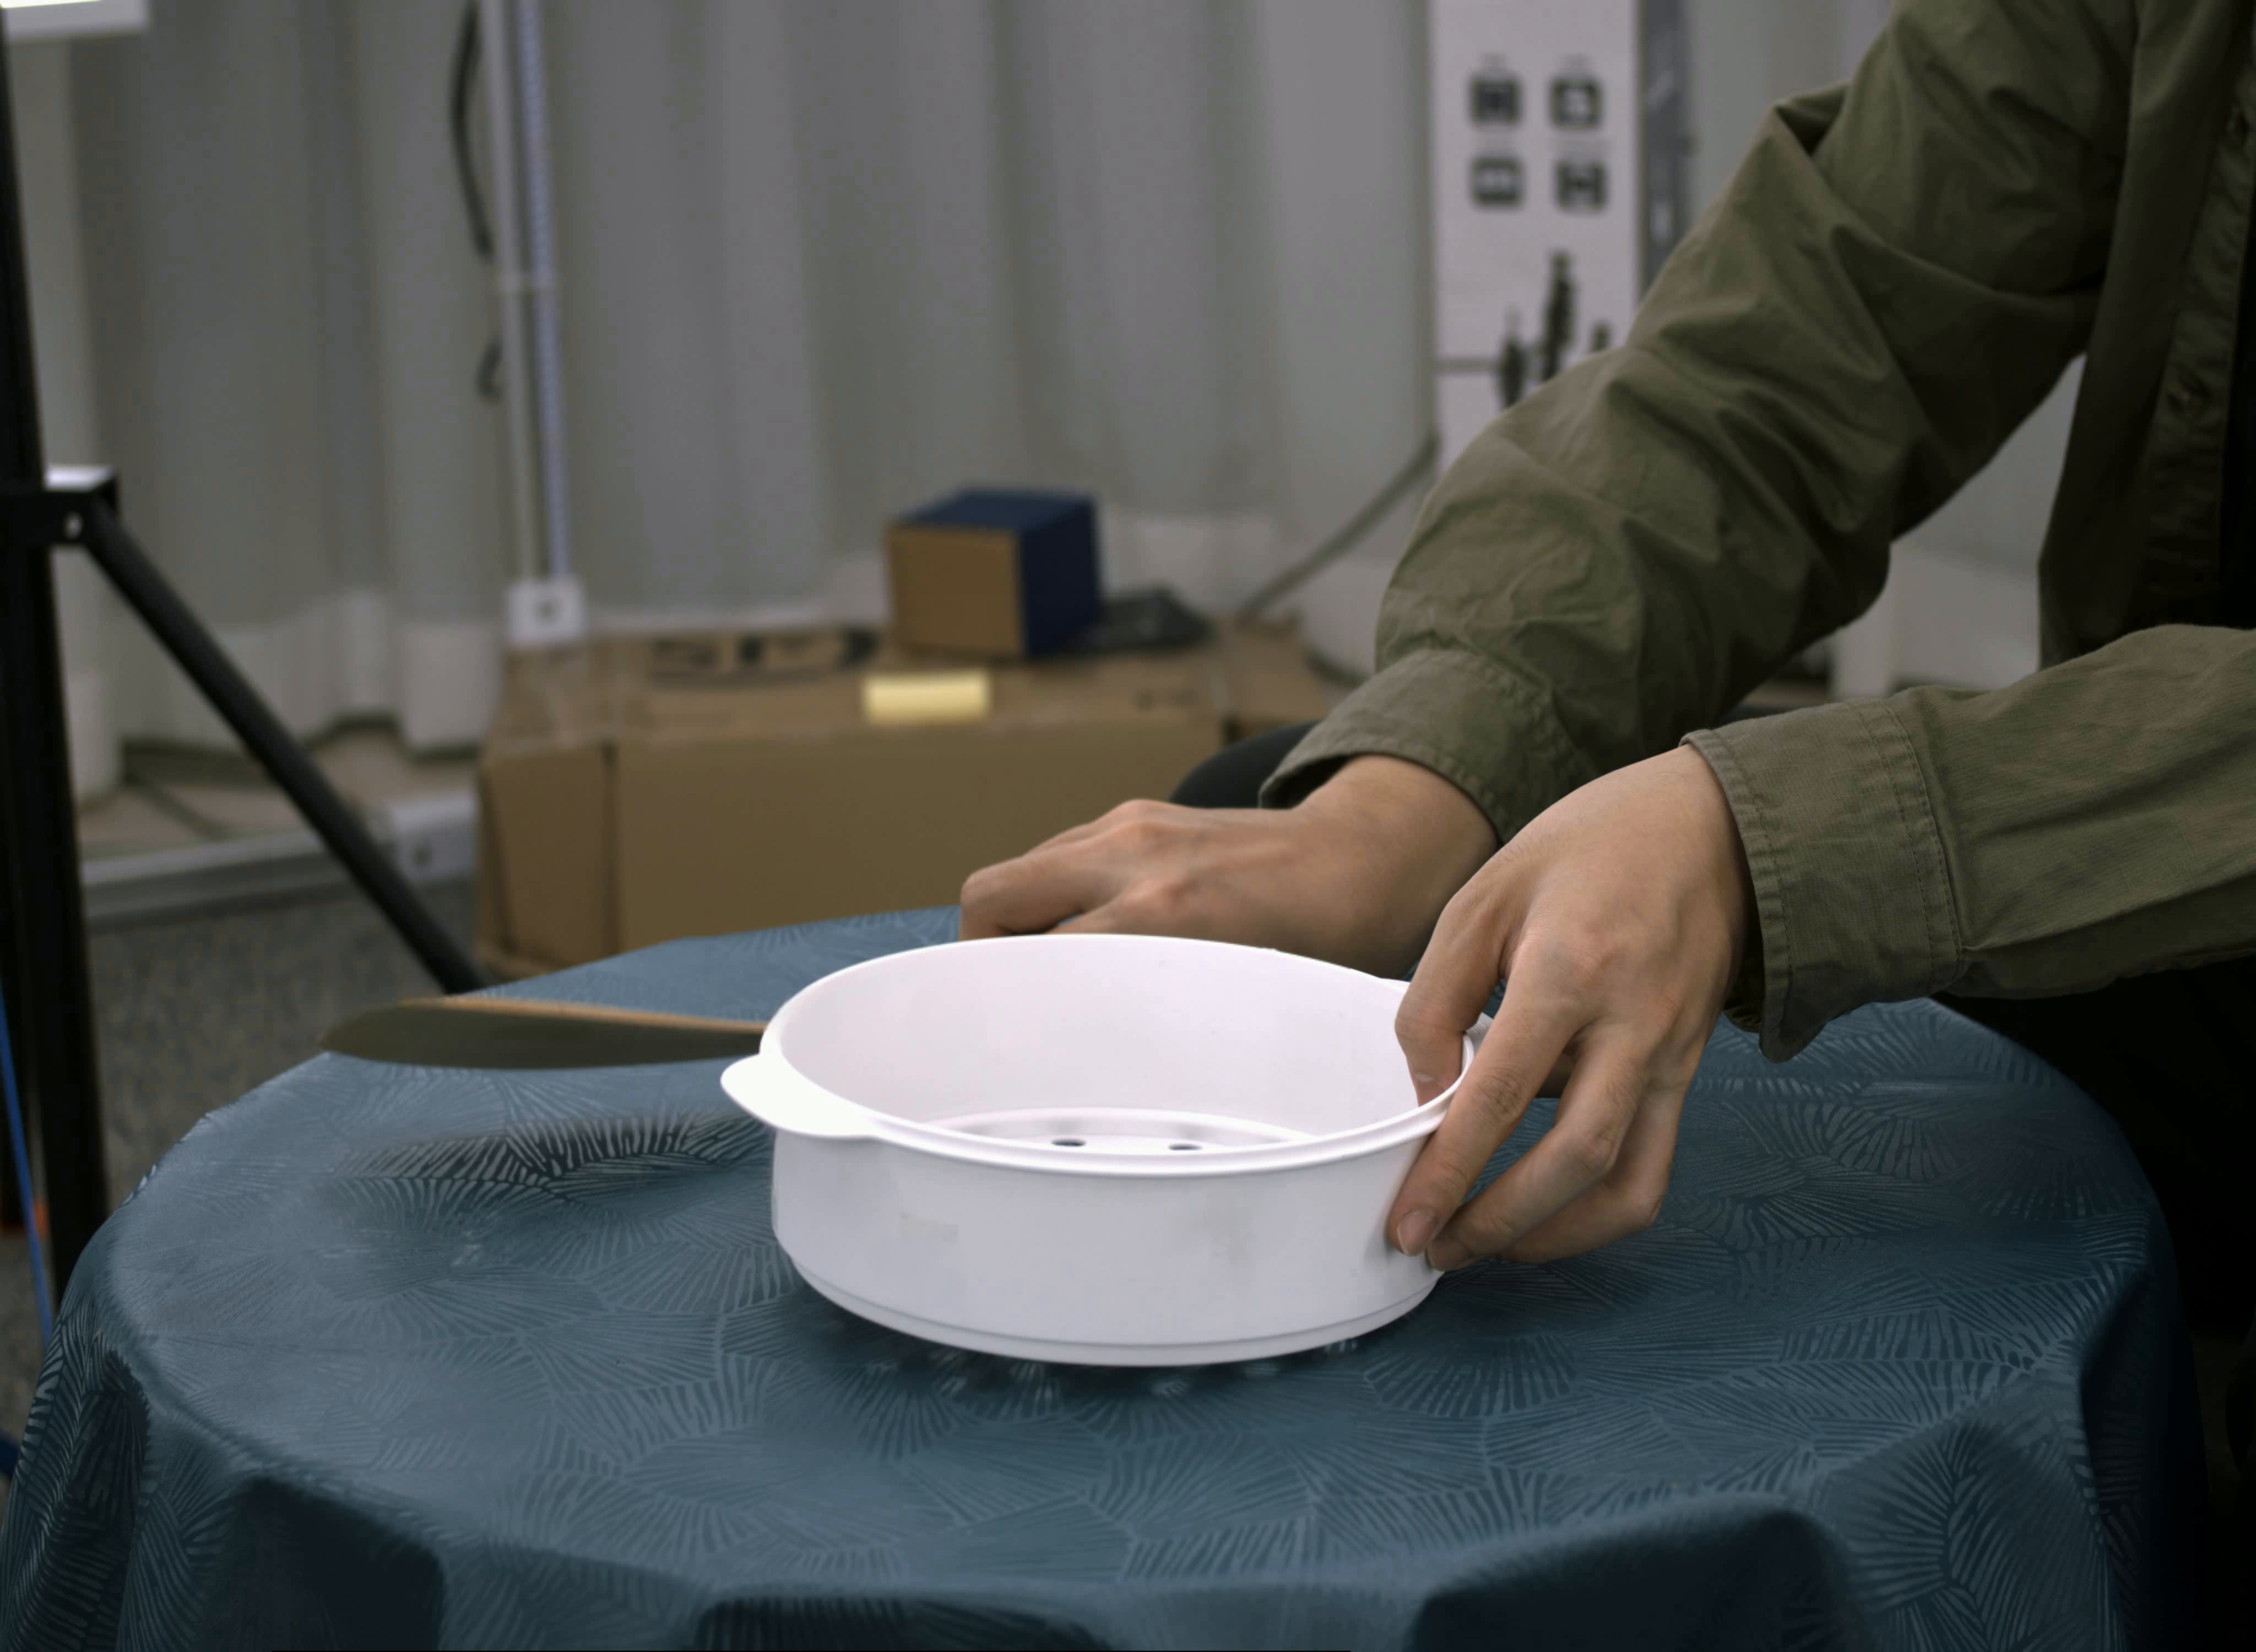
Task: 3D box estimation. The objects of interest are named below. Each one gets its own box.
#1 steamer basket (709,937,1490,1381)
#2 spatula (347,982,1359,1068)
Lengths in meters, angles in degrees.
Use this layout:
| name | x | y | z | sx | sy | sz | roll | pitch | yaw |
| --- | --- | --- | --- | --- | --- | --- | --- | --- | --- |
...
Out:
| name | x | y | z | sx | sy | sz | roll | pitch | yaw |
| --- | --- | --- | --- | --- | --- | --- | --- | --- | --- |
| steamer basket | -0.007 | 0.093 | 1.486 | 0.225 | 0.069 | 0.206 | -5 | 18 | -26 |
| spatula | -0.075 | 0.058 | 1.649 | 0.321 | 0.016 | 0.081 | -3 | -11 | -22 |
